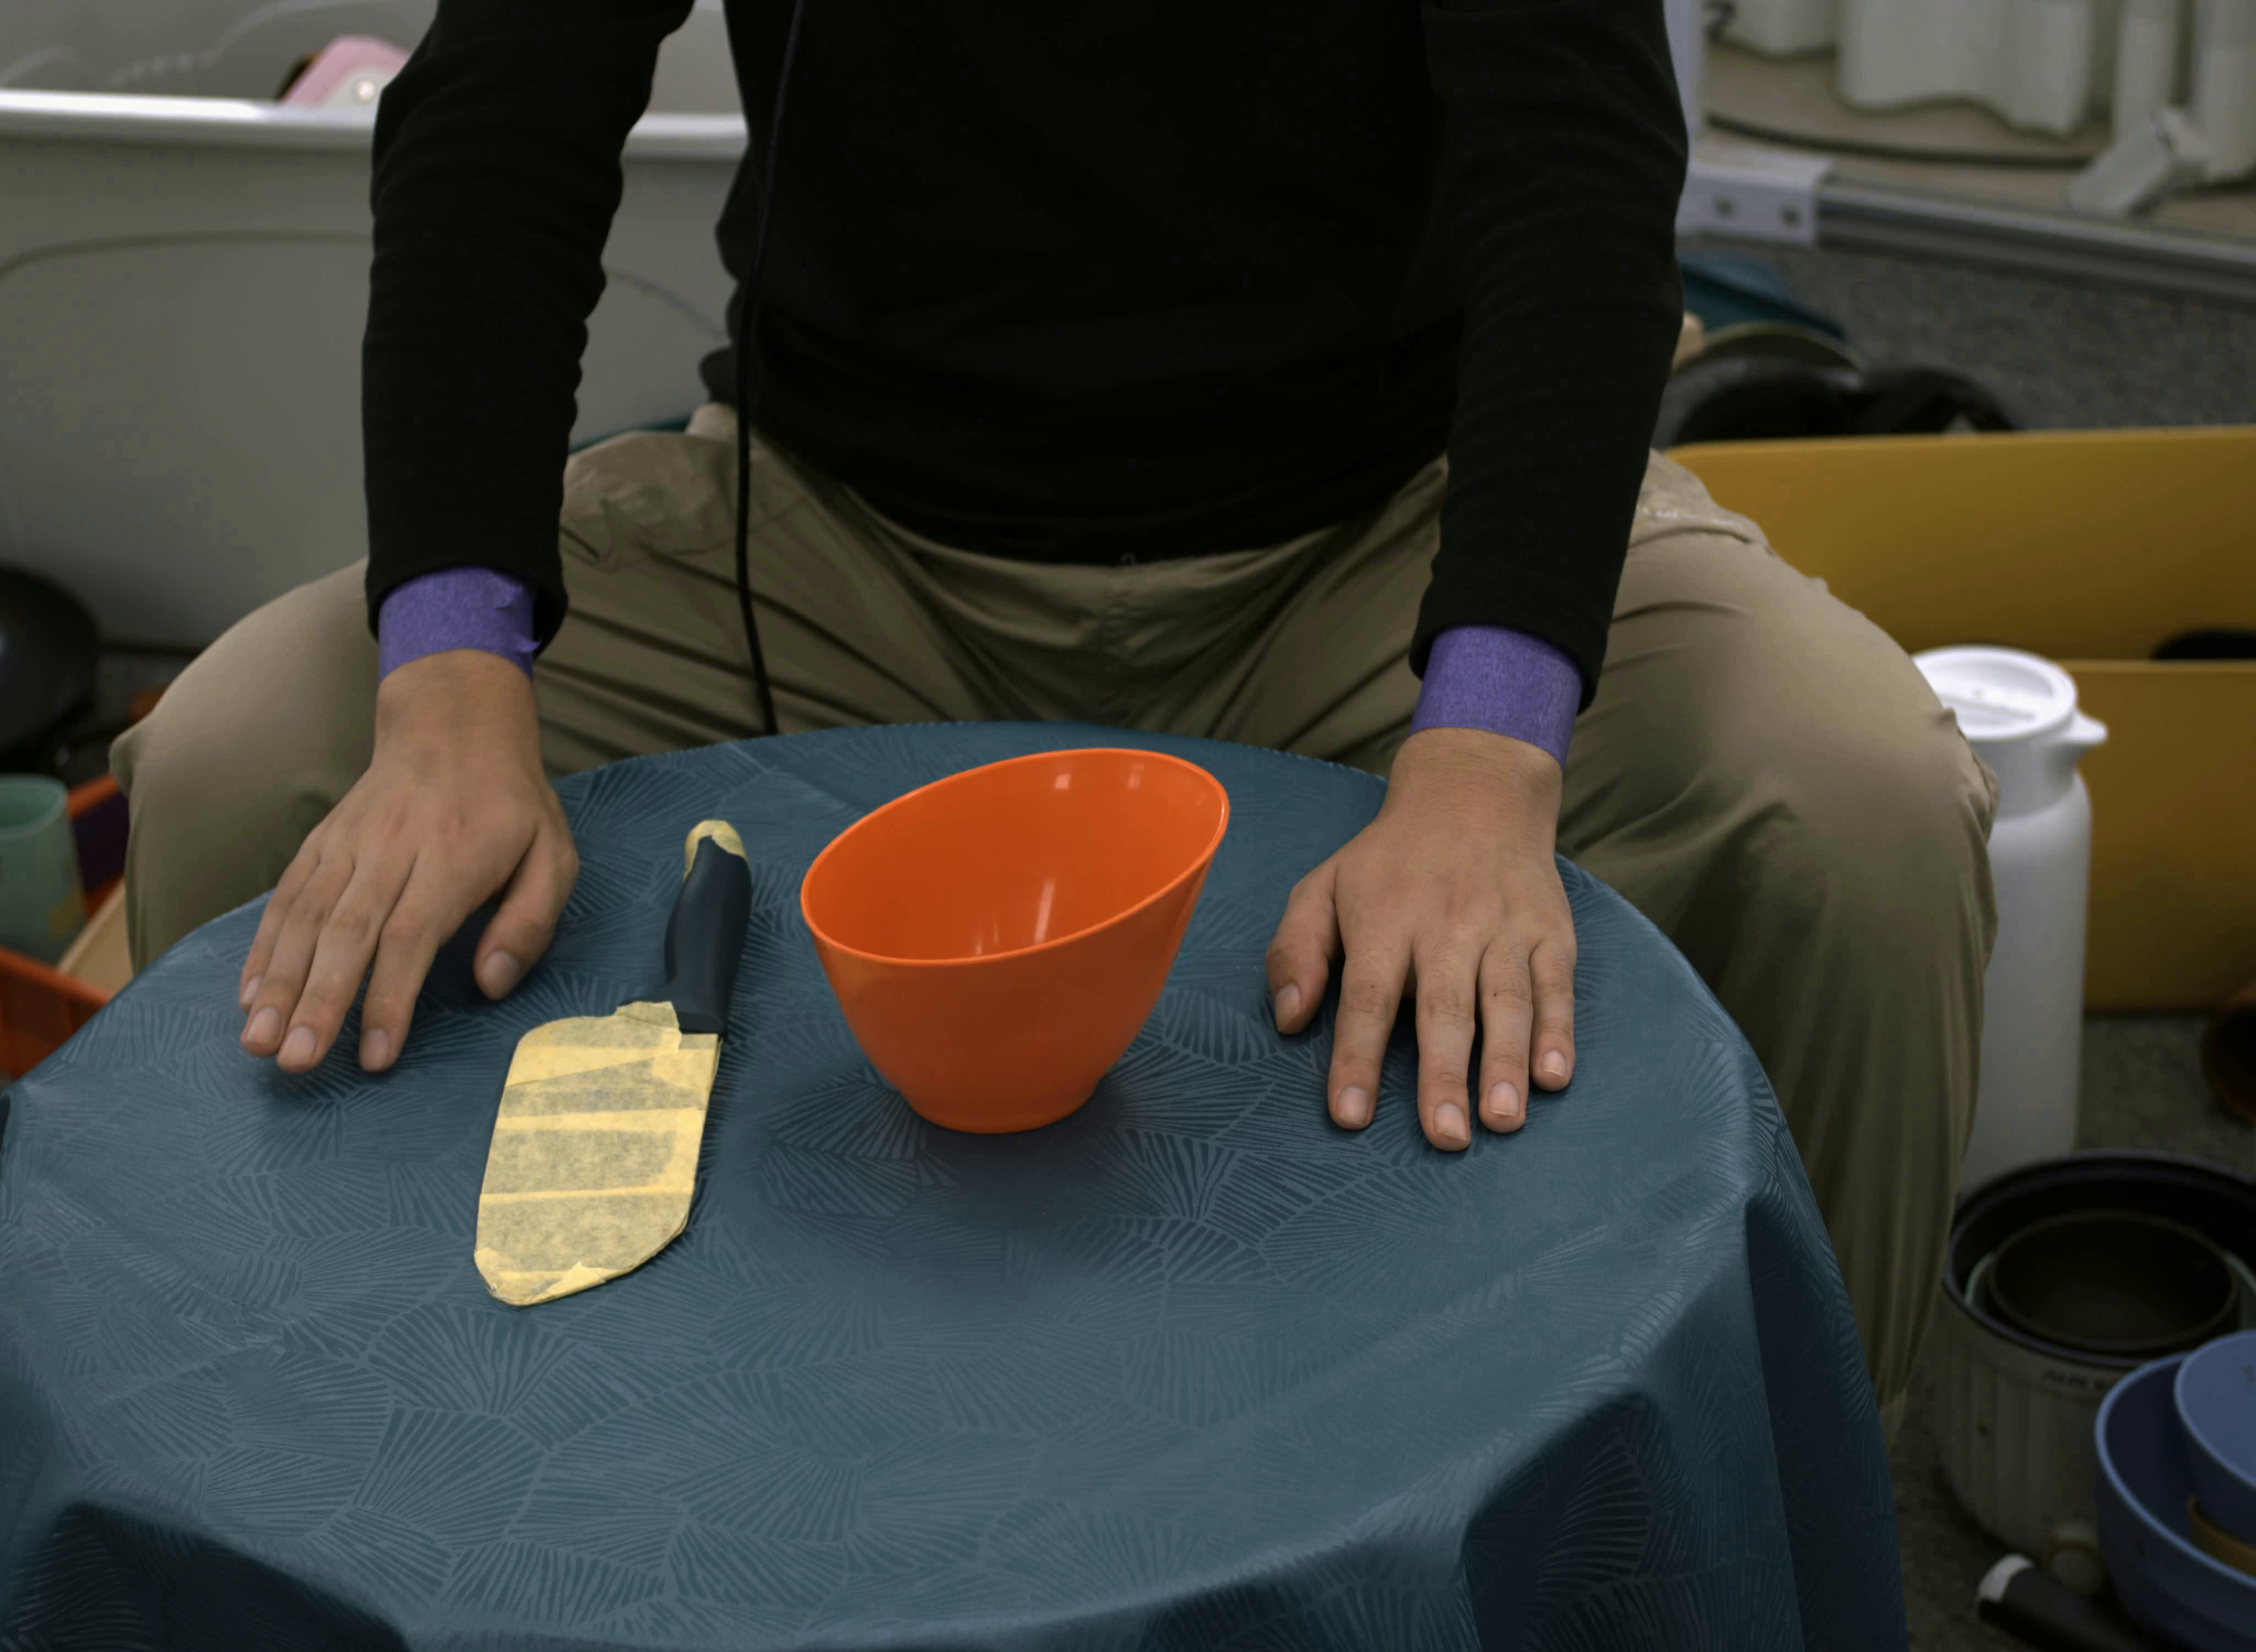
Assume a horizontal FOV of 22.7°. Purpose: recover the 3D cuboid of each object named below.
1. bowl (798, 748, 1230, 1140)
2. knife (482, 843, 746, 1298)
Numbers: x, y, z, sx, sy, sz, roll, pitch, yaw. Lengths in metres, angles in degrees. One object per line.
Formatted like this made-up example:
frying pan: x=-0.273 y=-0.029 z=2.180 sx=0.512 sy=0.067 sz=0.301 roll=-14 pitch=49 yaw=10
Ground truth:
bowl: x=-0.036 y=0.046 z=1.900 sx=0.147 sy=0.103 sz=0.150 roll=-3 pitch=28 yaw=2
knife: x=-0.174 y=0.083 z=1.936 sx=0.080 sy=0.027 sz=0.294 roll=2 pitch=29 yaw=5
